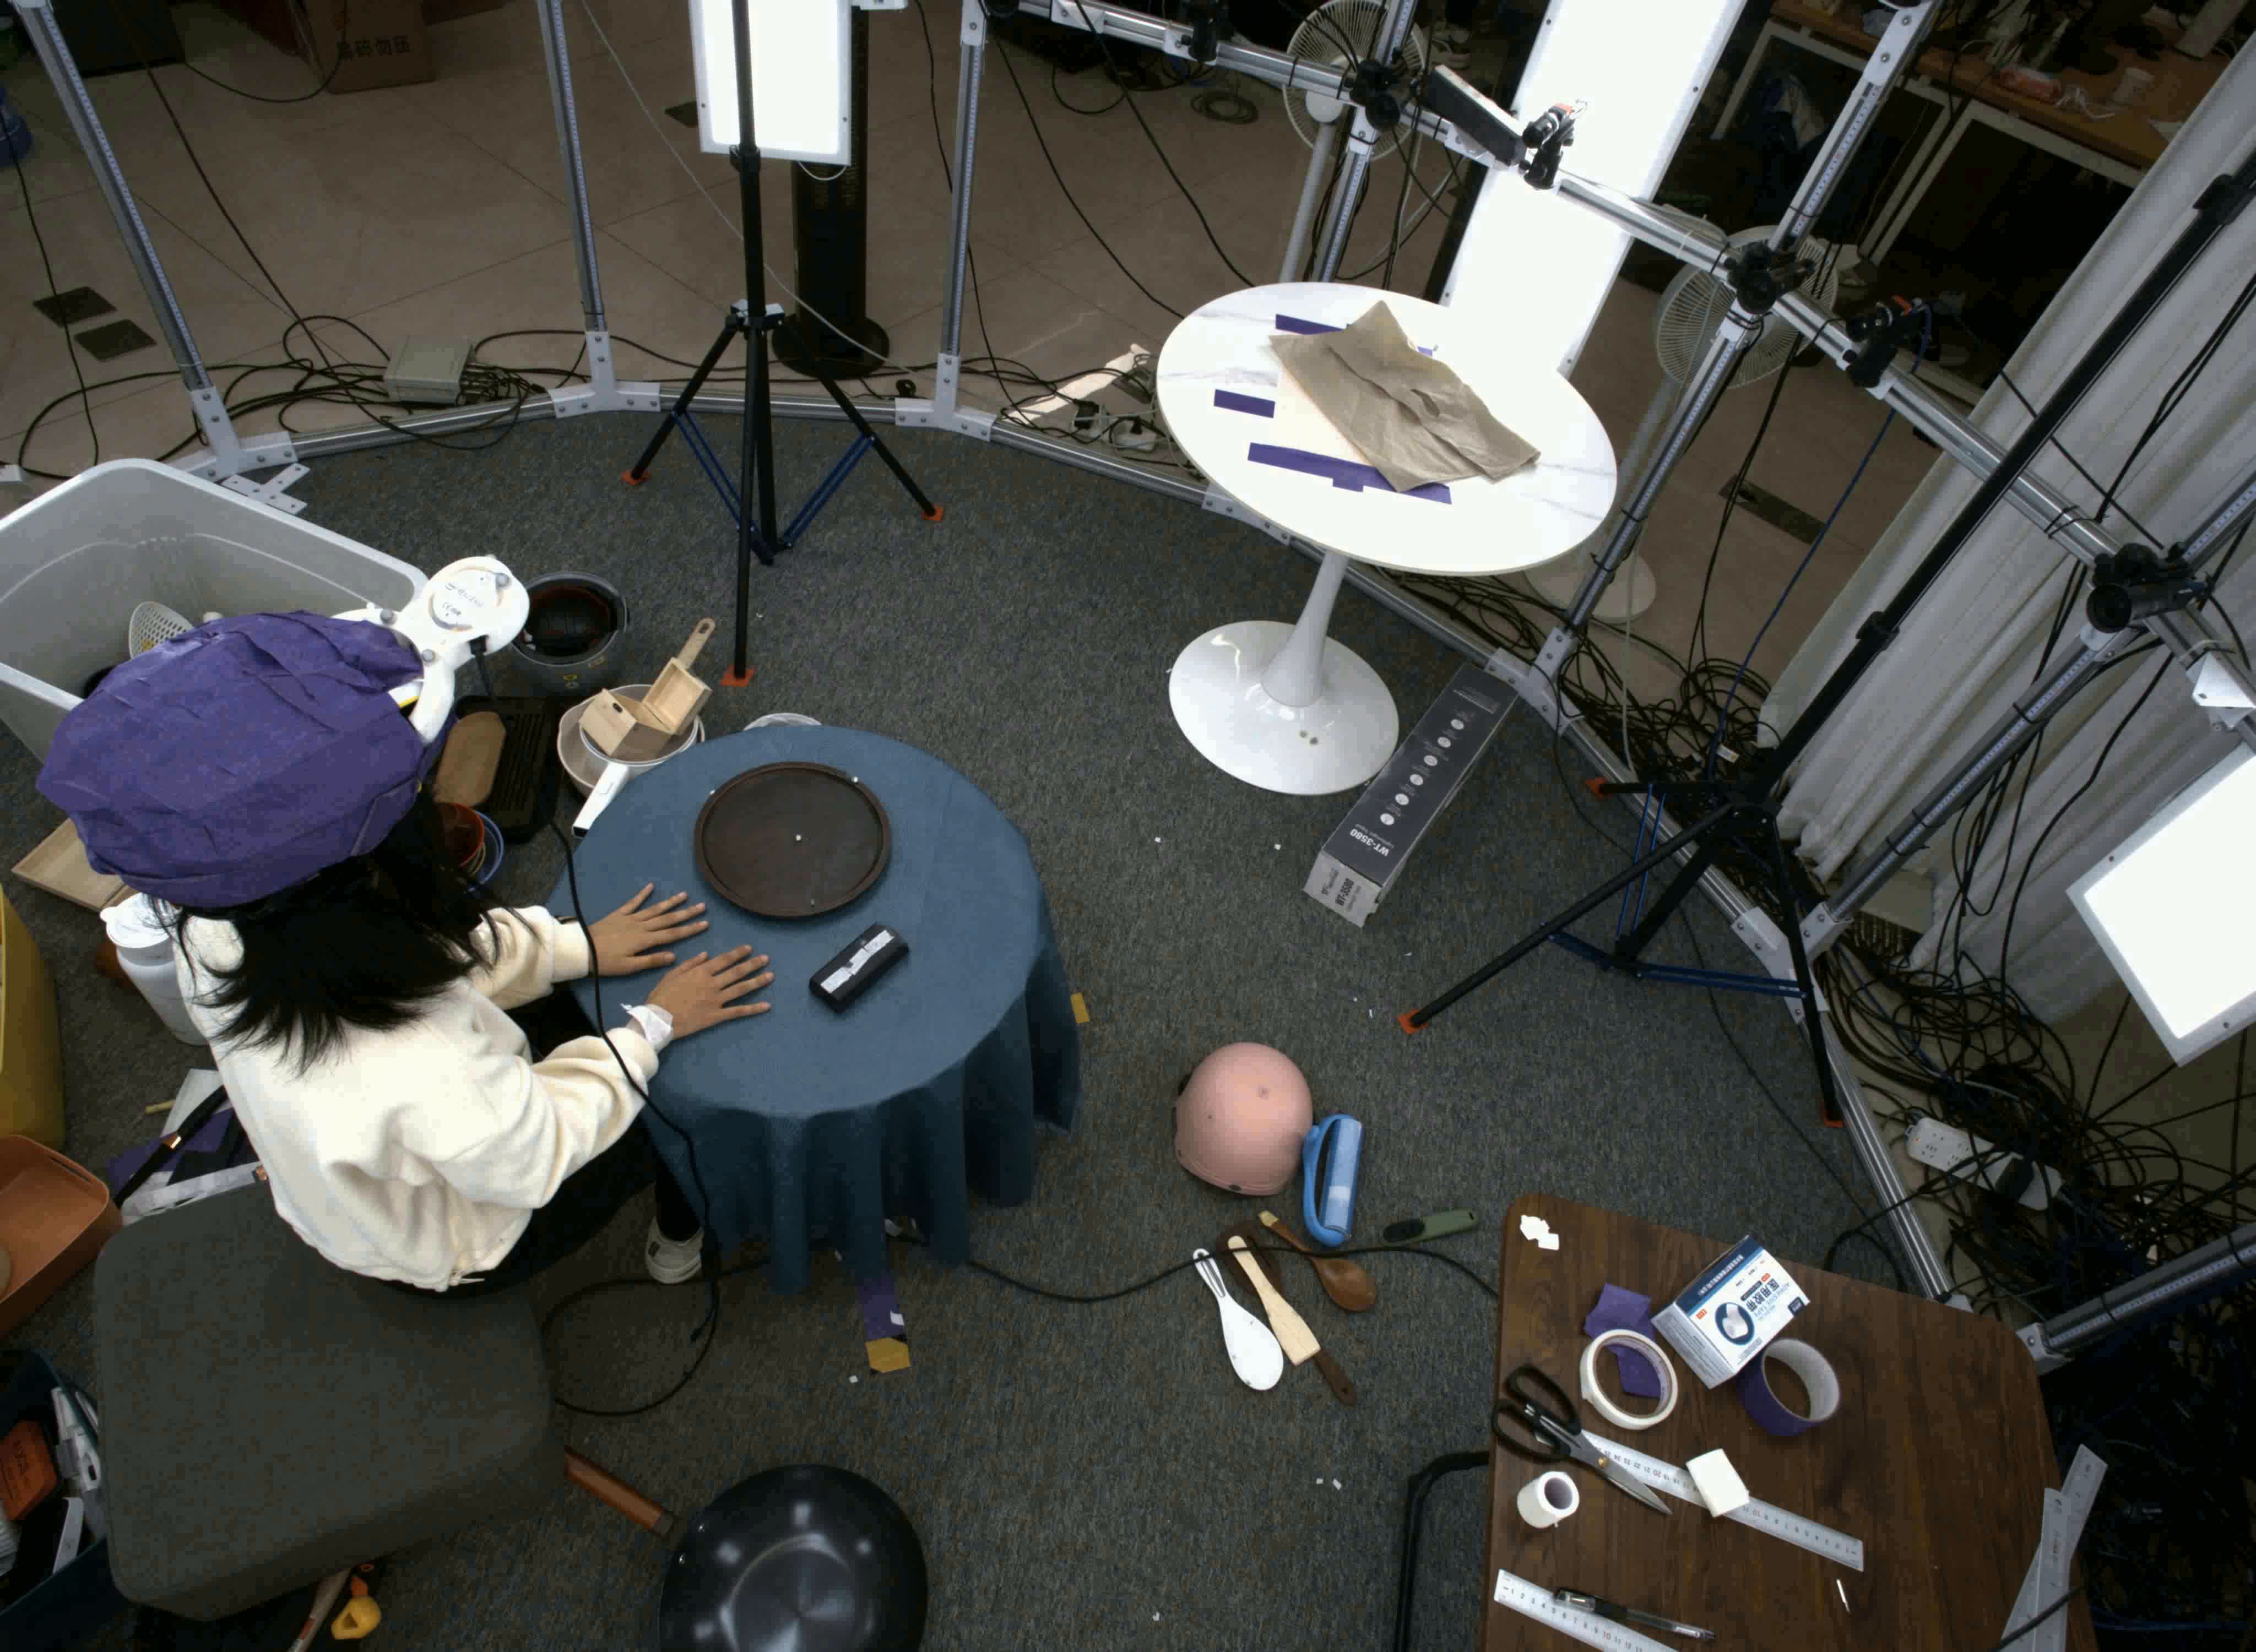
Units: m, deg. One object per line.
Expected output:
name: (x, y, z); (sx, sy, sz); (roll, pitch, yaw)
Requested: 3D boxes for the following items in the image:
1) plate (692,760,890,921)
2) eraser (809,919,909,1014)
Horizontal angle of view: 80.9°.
plate: (-0.437, 0.016, 1.688); (0.254, 0.029, 0.250); (9, 51, -10)
eraser: (-0.330, 0.169, 1.600); (0.052, 0.031, 0.125); (34, 55, 15)
